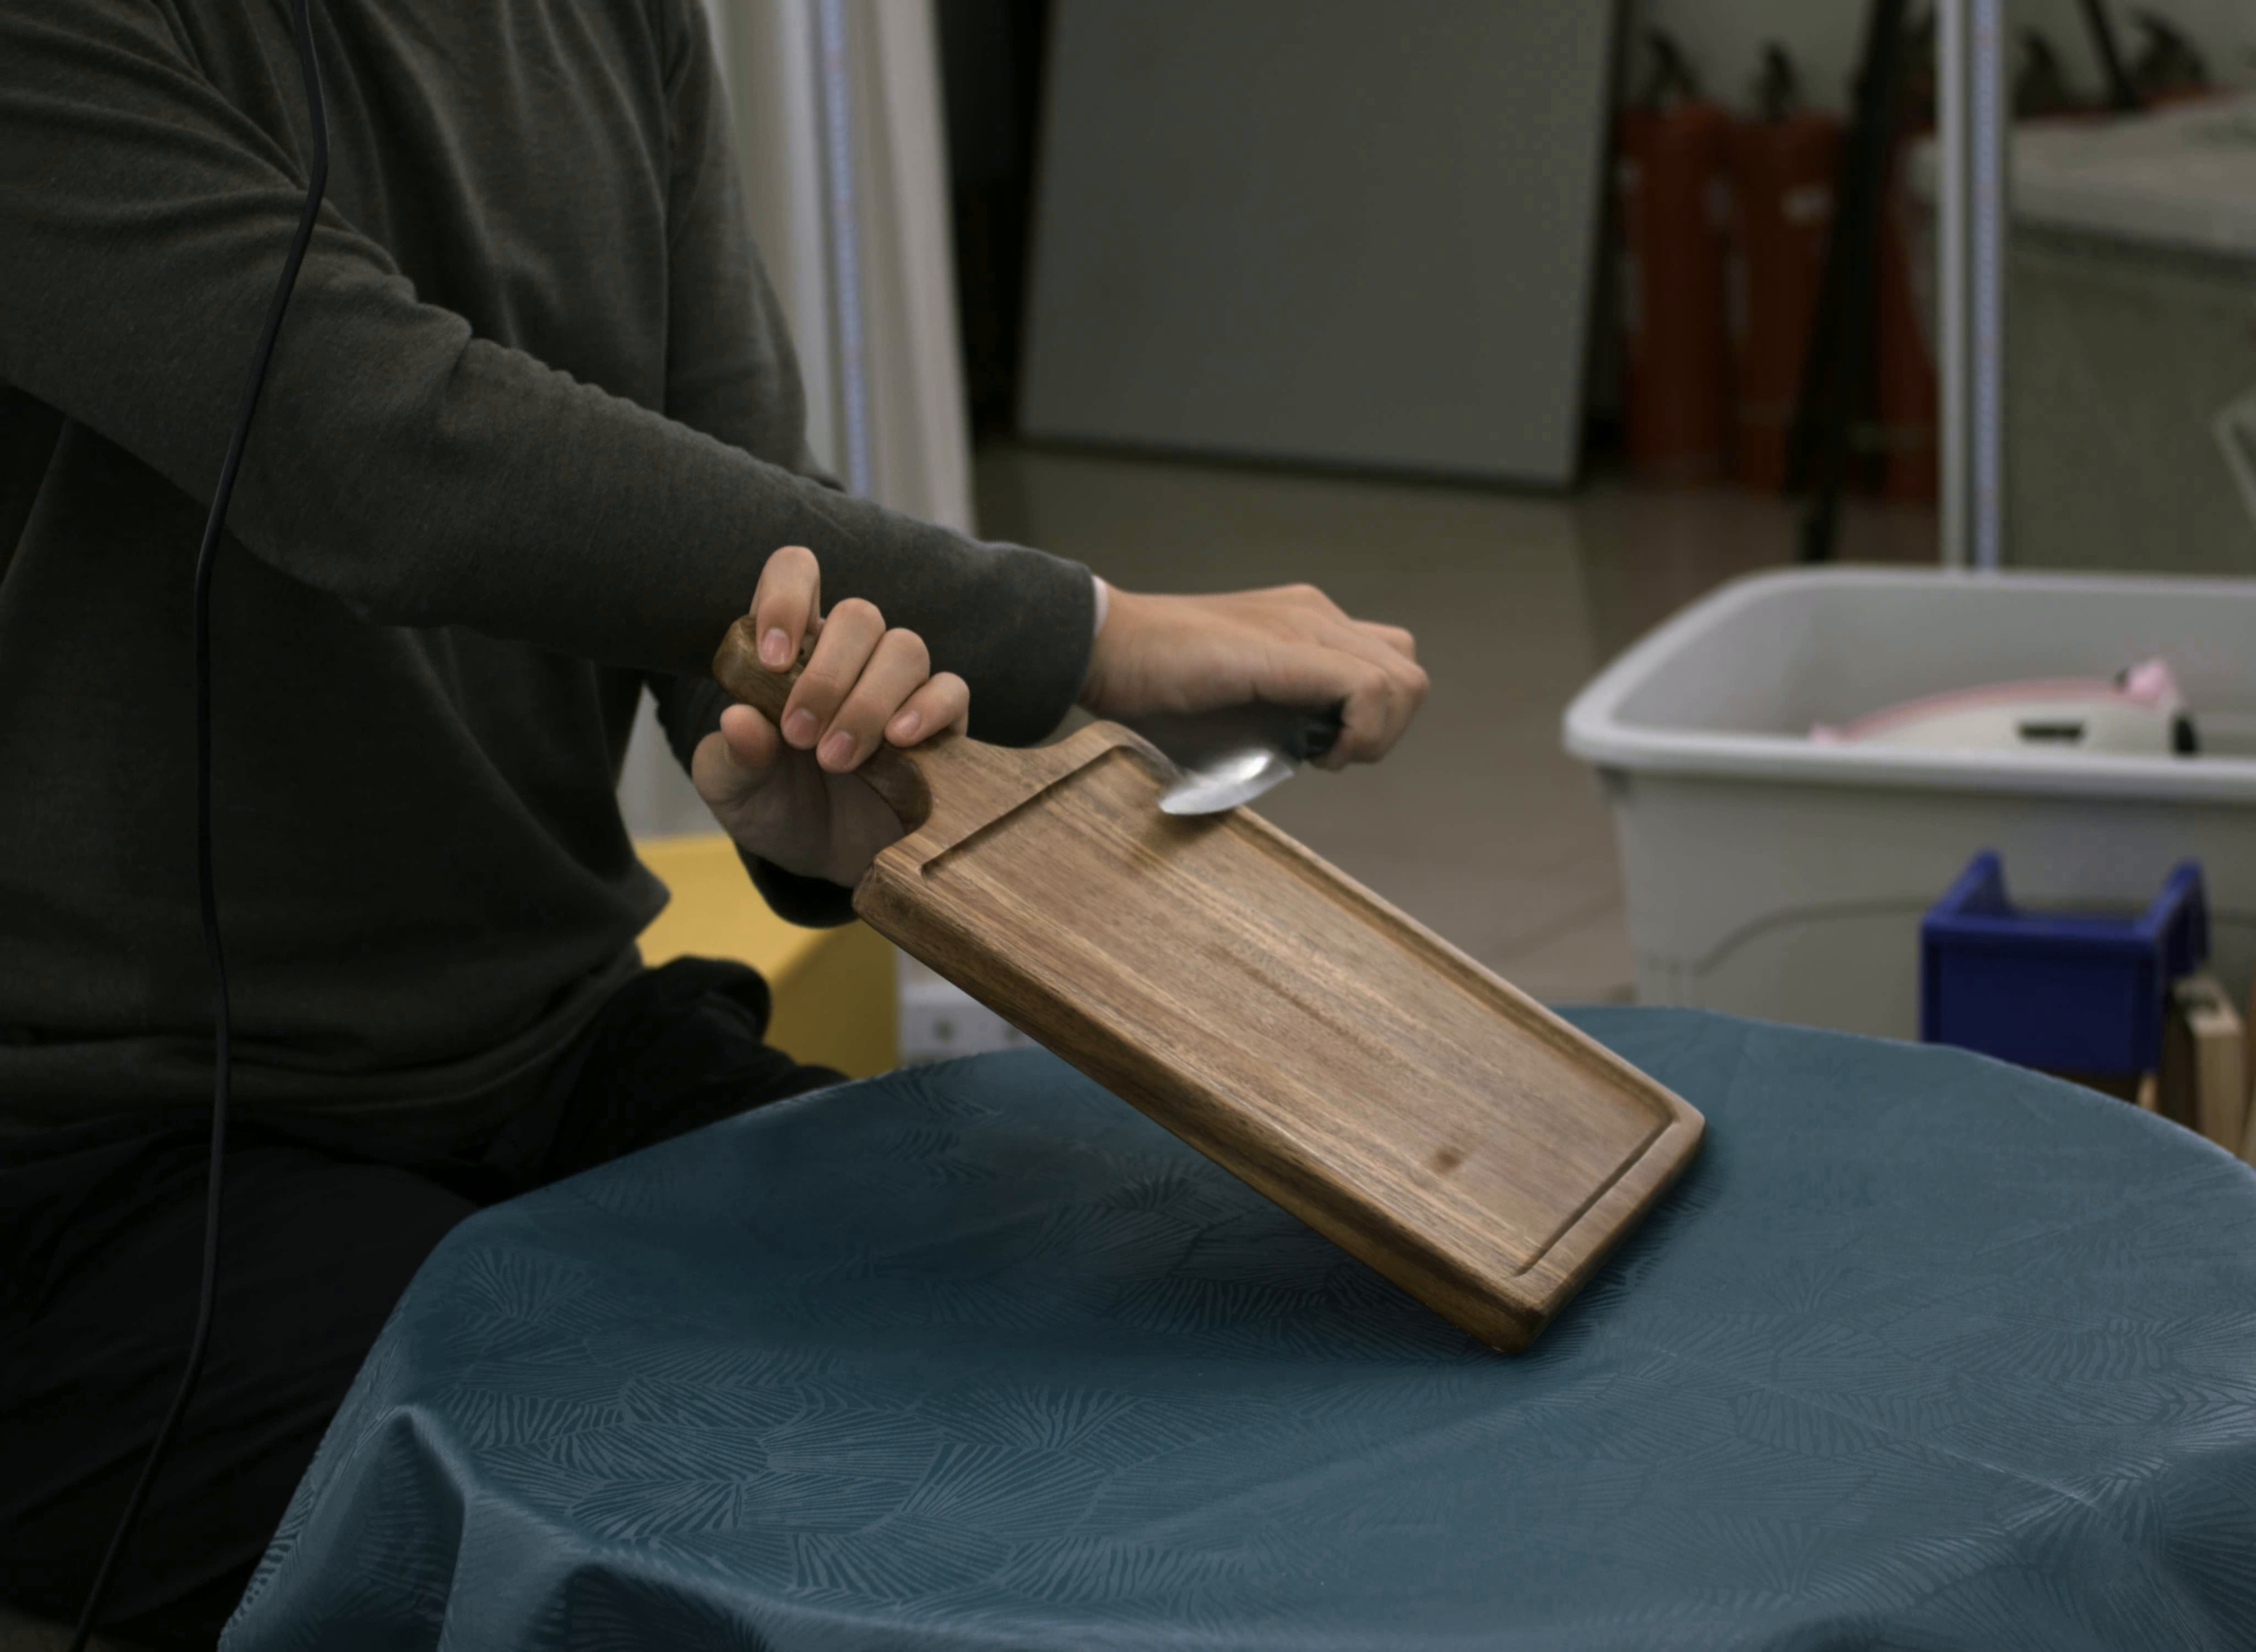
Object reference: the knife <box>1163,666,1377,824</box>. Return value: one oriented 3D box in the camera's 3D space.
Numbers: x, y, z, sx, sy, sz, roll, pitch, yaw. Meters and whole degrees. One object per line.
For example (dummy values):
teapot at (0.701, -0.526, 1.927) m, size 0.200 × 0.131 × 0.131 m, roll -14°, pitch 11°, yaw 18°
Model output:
knife at (0.046, -0.027, 1.851) m, size 0.024 × 0.016 × 0.236 m, roll 39°, pitch 20°, yaw 7°

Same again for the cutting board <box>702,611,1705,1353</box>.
cutting board at (0.012, 0.033, 1.709) m, size 0.352 × 0.023 × 0.199 m, roll 33°, pitch 24°, yaw 13°
